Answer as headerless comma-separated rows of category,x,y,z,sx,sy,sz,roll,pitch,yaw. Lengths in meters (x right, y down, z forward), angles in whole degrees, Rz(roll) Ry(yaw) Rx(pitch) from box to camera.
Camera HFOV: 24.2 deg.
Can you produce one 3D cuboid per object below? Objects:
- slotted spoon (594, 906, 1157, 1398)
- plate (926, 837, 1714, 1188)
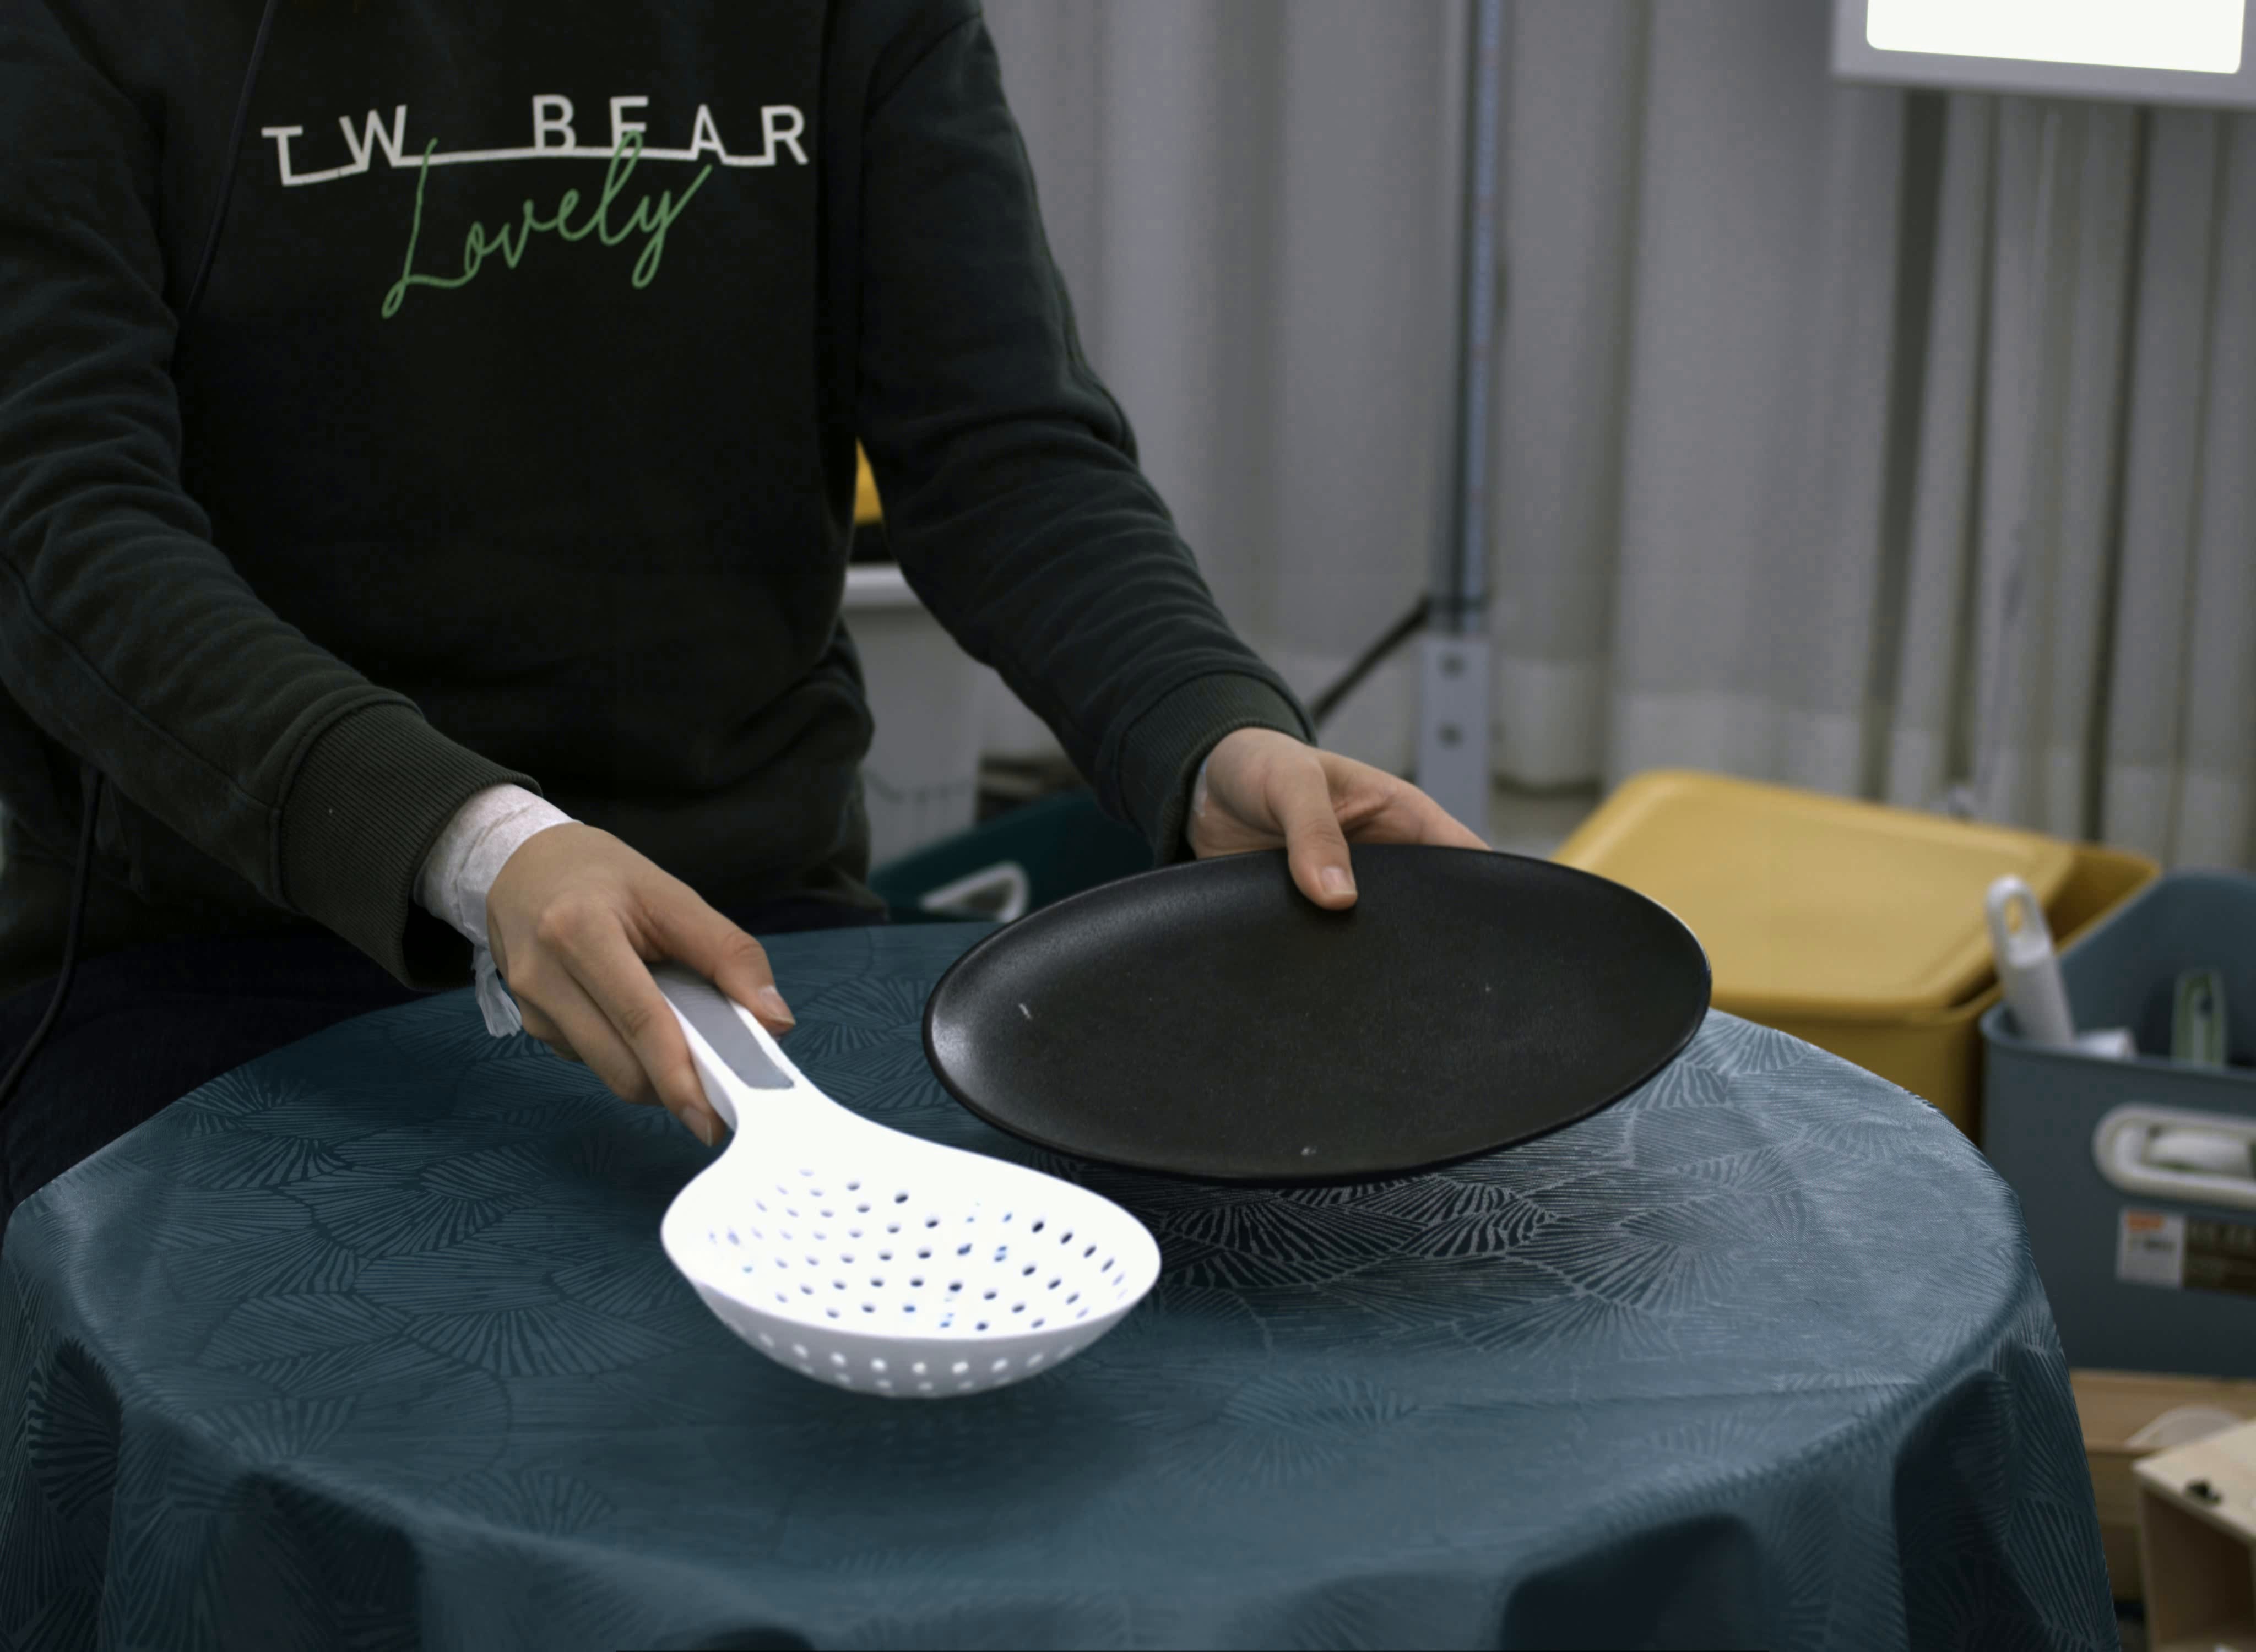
slotted spoon,-0.099,0.086,1.527,0.136,0.046,0.345,-1,23,-22
plate,0.059,0.061,1.619,0.243,0.023,0.242,-4,23,2
